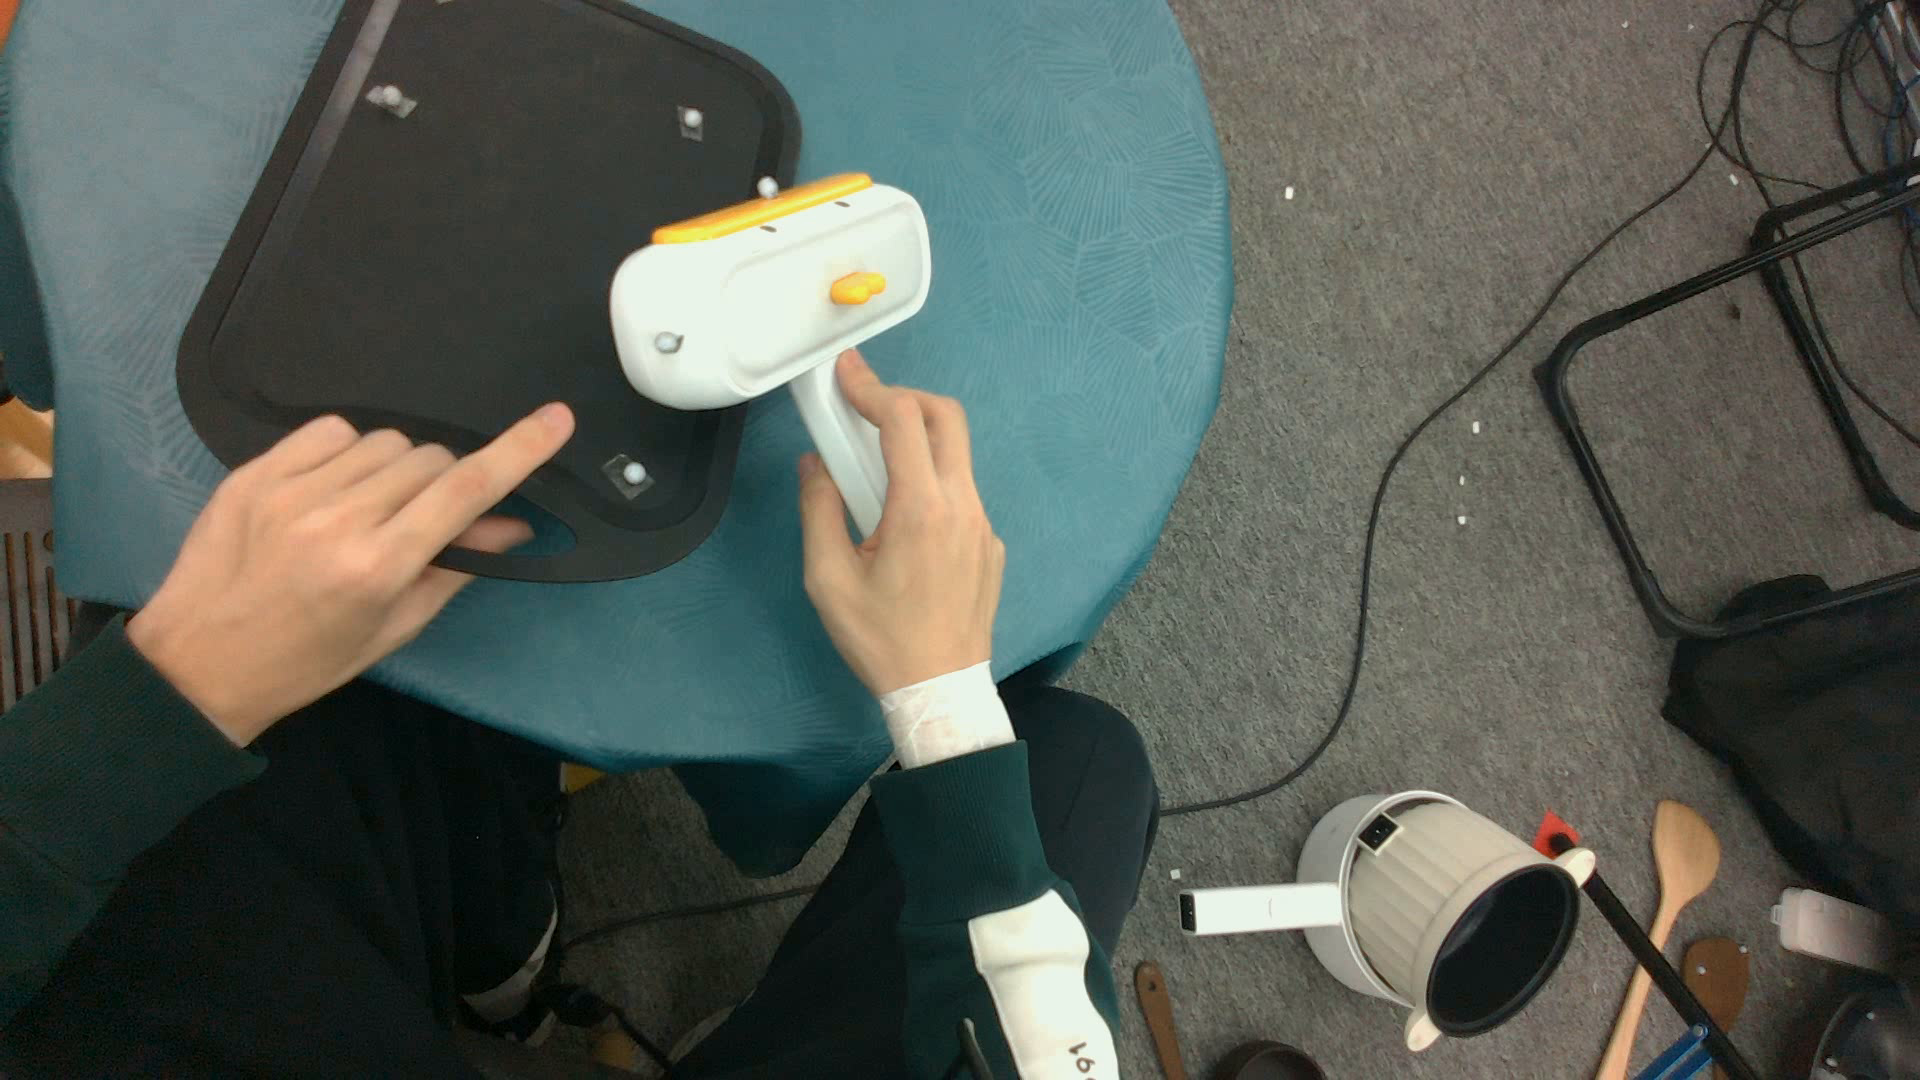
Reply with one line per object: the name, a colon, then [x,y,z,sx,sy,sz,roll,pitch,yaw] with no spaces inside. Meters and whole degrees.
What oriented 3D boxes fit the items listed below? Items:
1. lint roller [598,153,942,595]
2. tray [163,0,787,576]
lint roller: [-0.061,-0.061,0.606,0.194,0.074,0.192,-54,133,-57]
tray: [-0.190,-0.133,0.594,0.211,0.010,0.327,17,57,-19]
